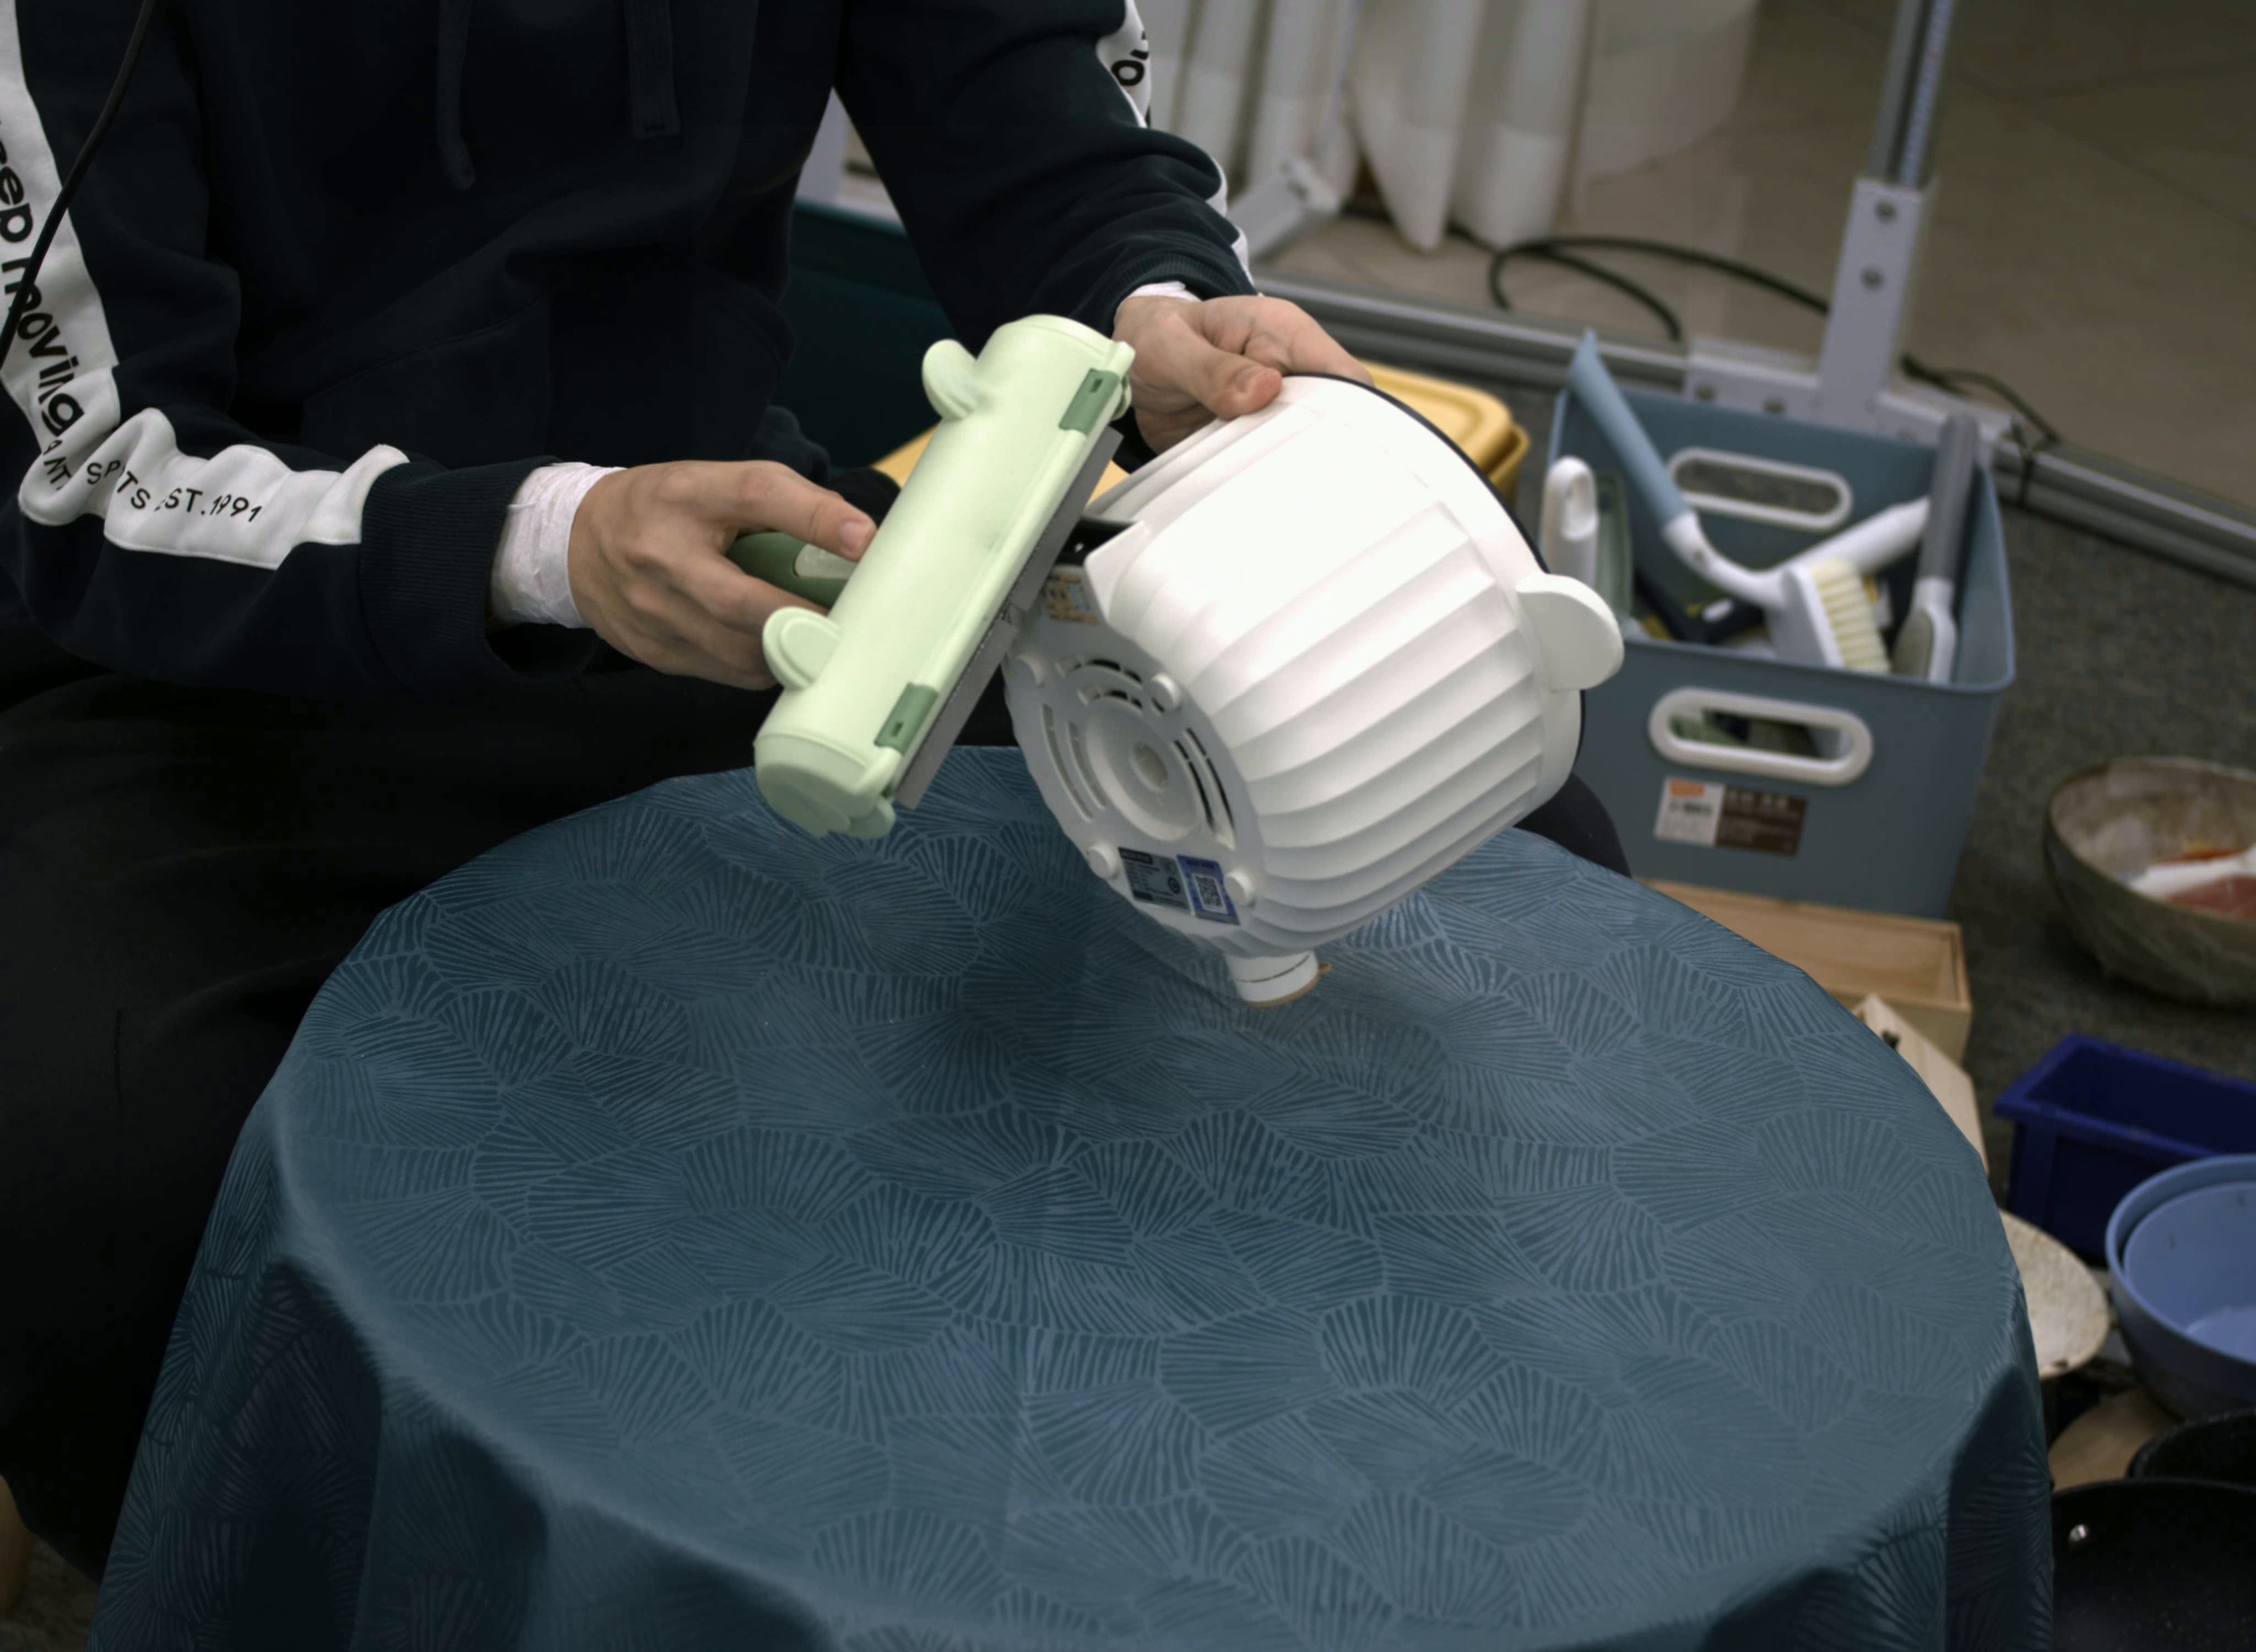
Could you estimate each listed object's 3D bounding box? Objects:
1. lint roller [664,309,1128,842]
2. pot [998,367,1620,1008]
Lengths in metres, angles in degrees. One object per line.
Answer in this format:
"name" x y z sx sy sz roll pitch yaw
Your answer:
"lint roller" -0.108 -0.095 1.827 0.184 0.081 0.199 7 59 40
"pot" 0.050 -0.045 1.874 0.142 0.189 0.242 -37 26 -26
